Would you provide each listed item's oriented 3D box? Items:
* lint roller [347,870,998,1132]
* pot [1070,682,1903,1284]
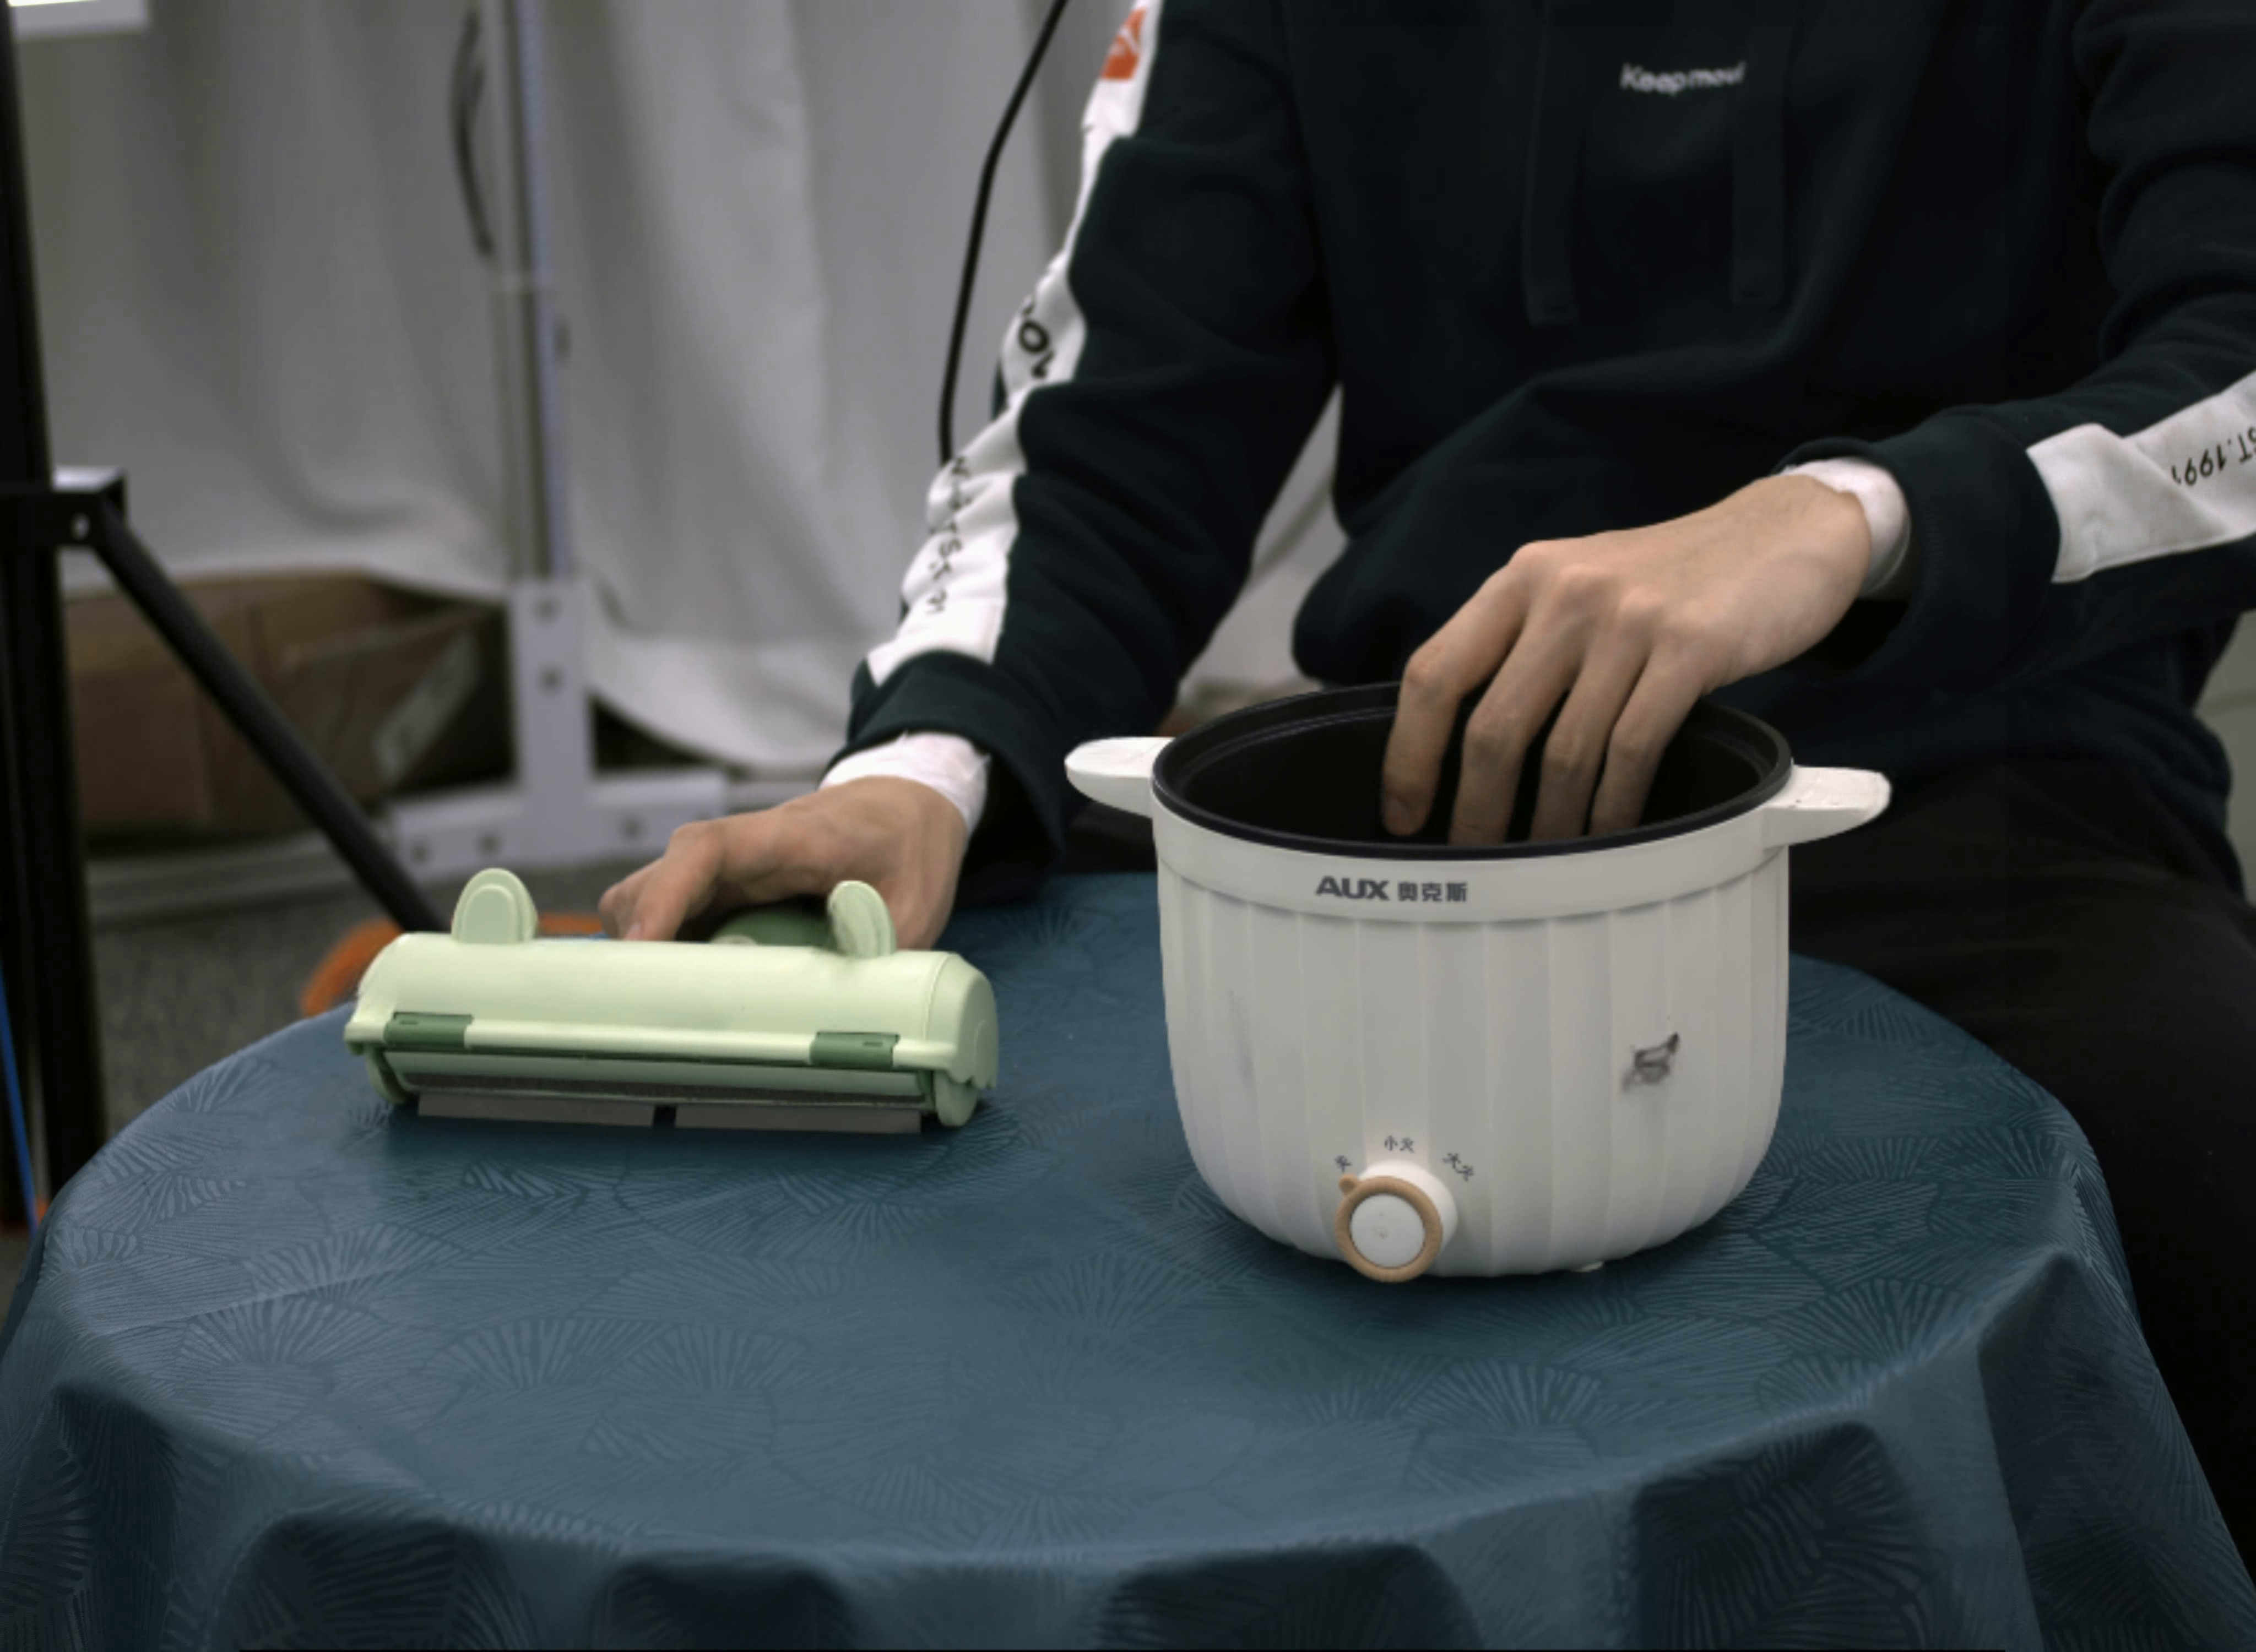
[{"bbox_3d":[-0.127,0.036,1.692,0.200,0.082,0.182,1,22,15],"label":"lint roller"},{"bbox_3d":[0.100,0.047,1.504,0.243,0.143,0.188,2,13,19],"label":"pot"}]
